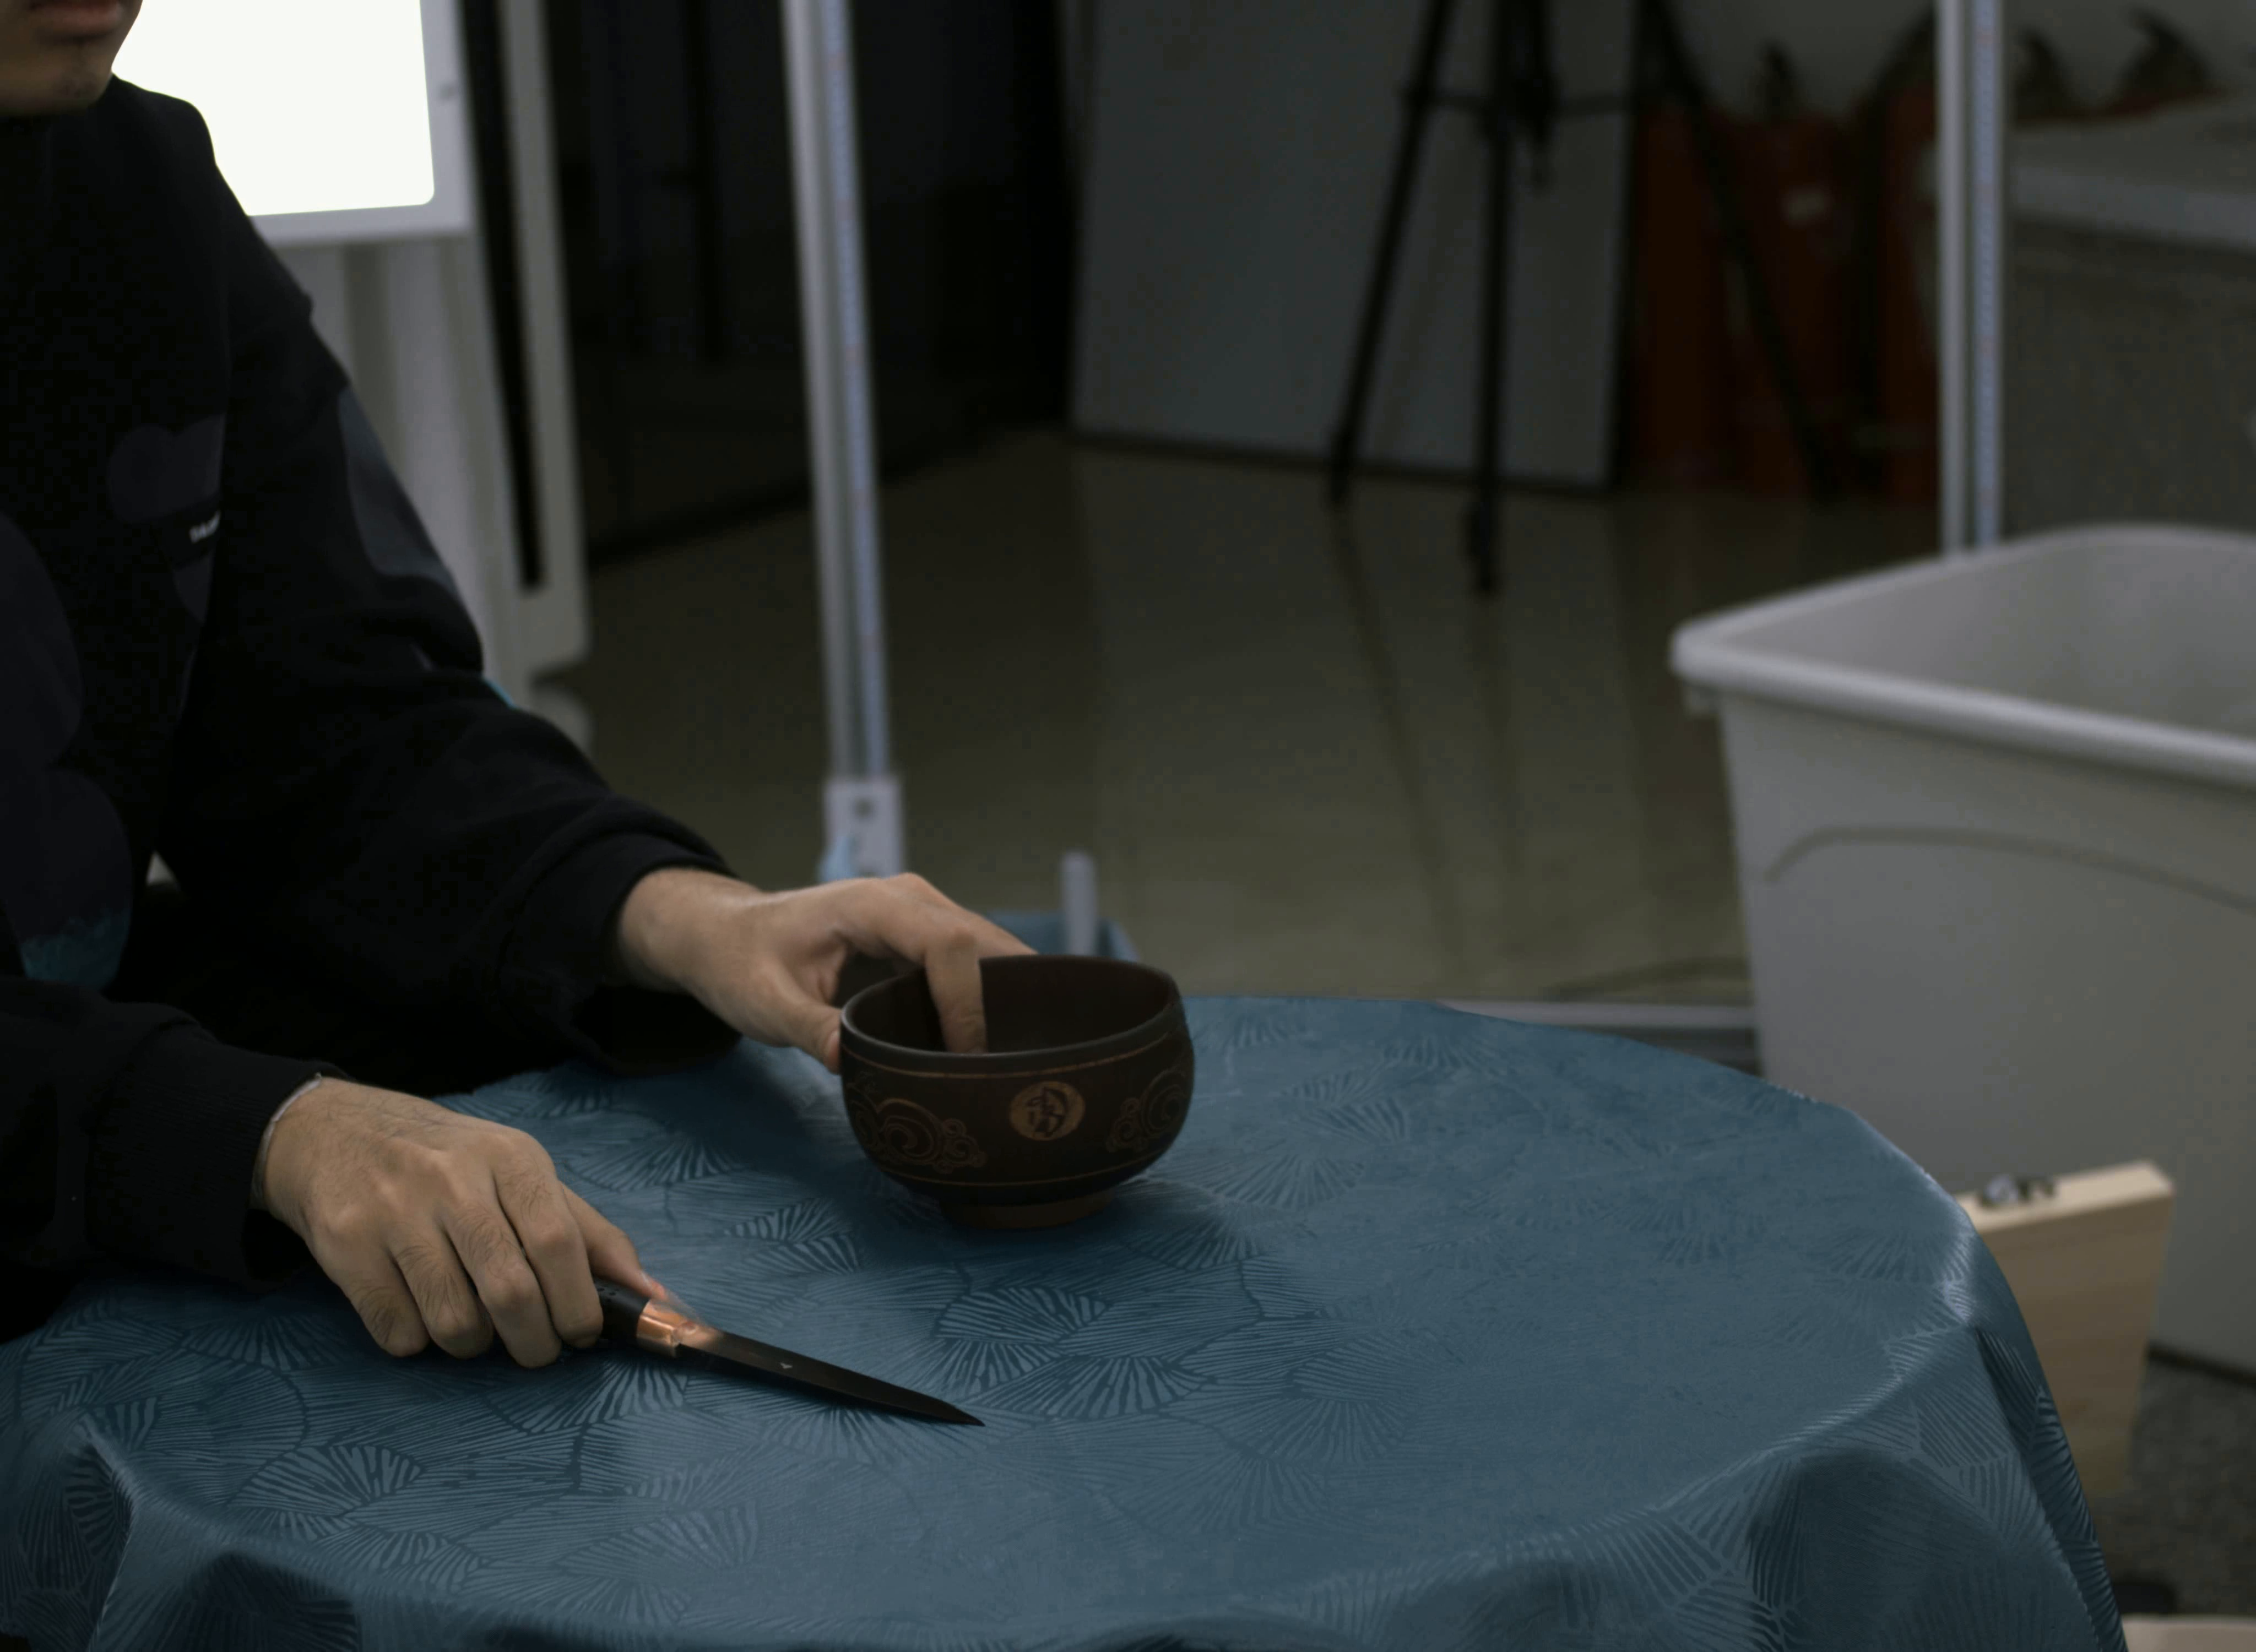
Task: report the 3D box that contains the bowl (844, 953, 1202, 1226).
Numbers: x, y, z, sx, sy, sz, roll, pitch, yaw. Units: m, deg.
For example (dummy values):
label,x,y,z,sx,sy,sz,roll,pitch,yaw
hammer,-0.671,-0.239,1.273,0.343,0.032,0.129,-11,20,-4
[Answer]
label,x,y,z,sx,sy,sz,roll,pitch,yaw
bowl,-0.033,0.089,1.754,0.116,0.070,0.118,-4,12,0

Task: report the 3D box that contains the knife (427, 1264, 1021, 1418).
label,x,y,z,sx,sy,sz,roll,pitch,yaw
knife,-0.125,0.158,1.636,0.227,0.017,0.026,9,10,36
